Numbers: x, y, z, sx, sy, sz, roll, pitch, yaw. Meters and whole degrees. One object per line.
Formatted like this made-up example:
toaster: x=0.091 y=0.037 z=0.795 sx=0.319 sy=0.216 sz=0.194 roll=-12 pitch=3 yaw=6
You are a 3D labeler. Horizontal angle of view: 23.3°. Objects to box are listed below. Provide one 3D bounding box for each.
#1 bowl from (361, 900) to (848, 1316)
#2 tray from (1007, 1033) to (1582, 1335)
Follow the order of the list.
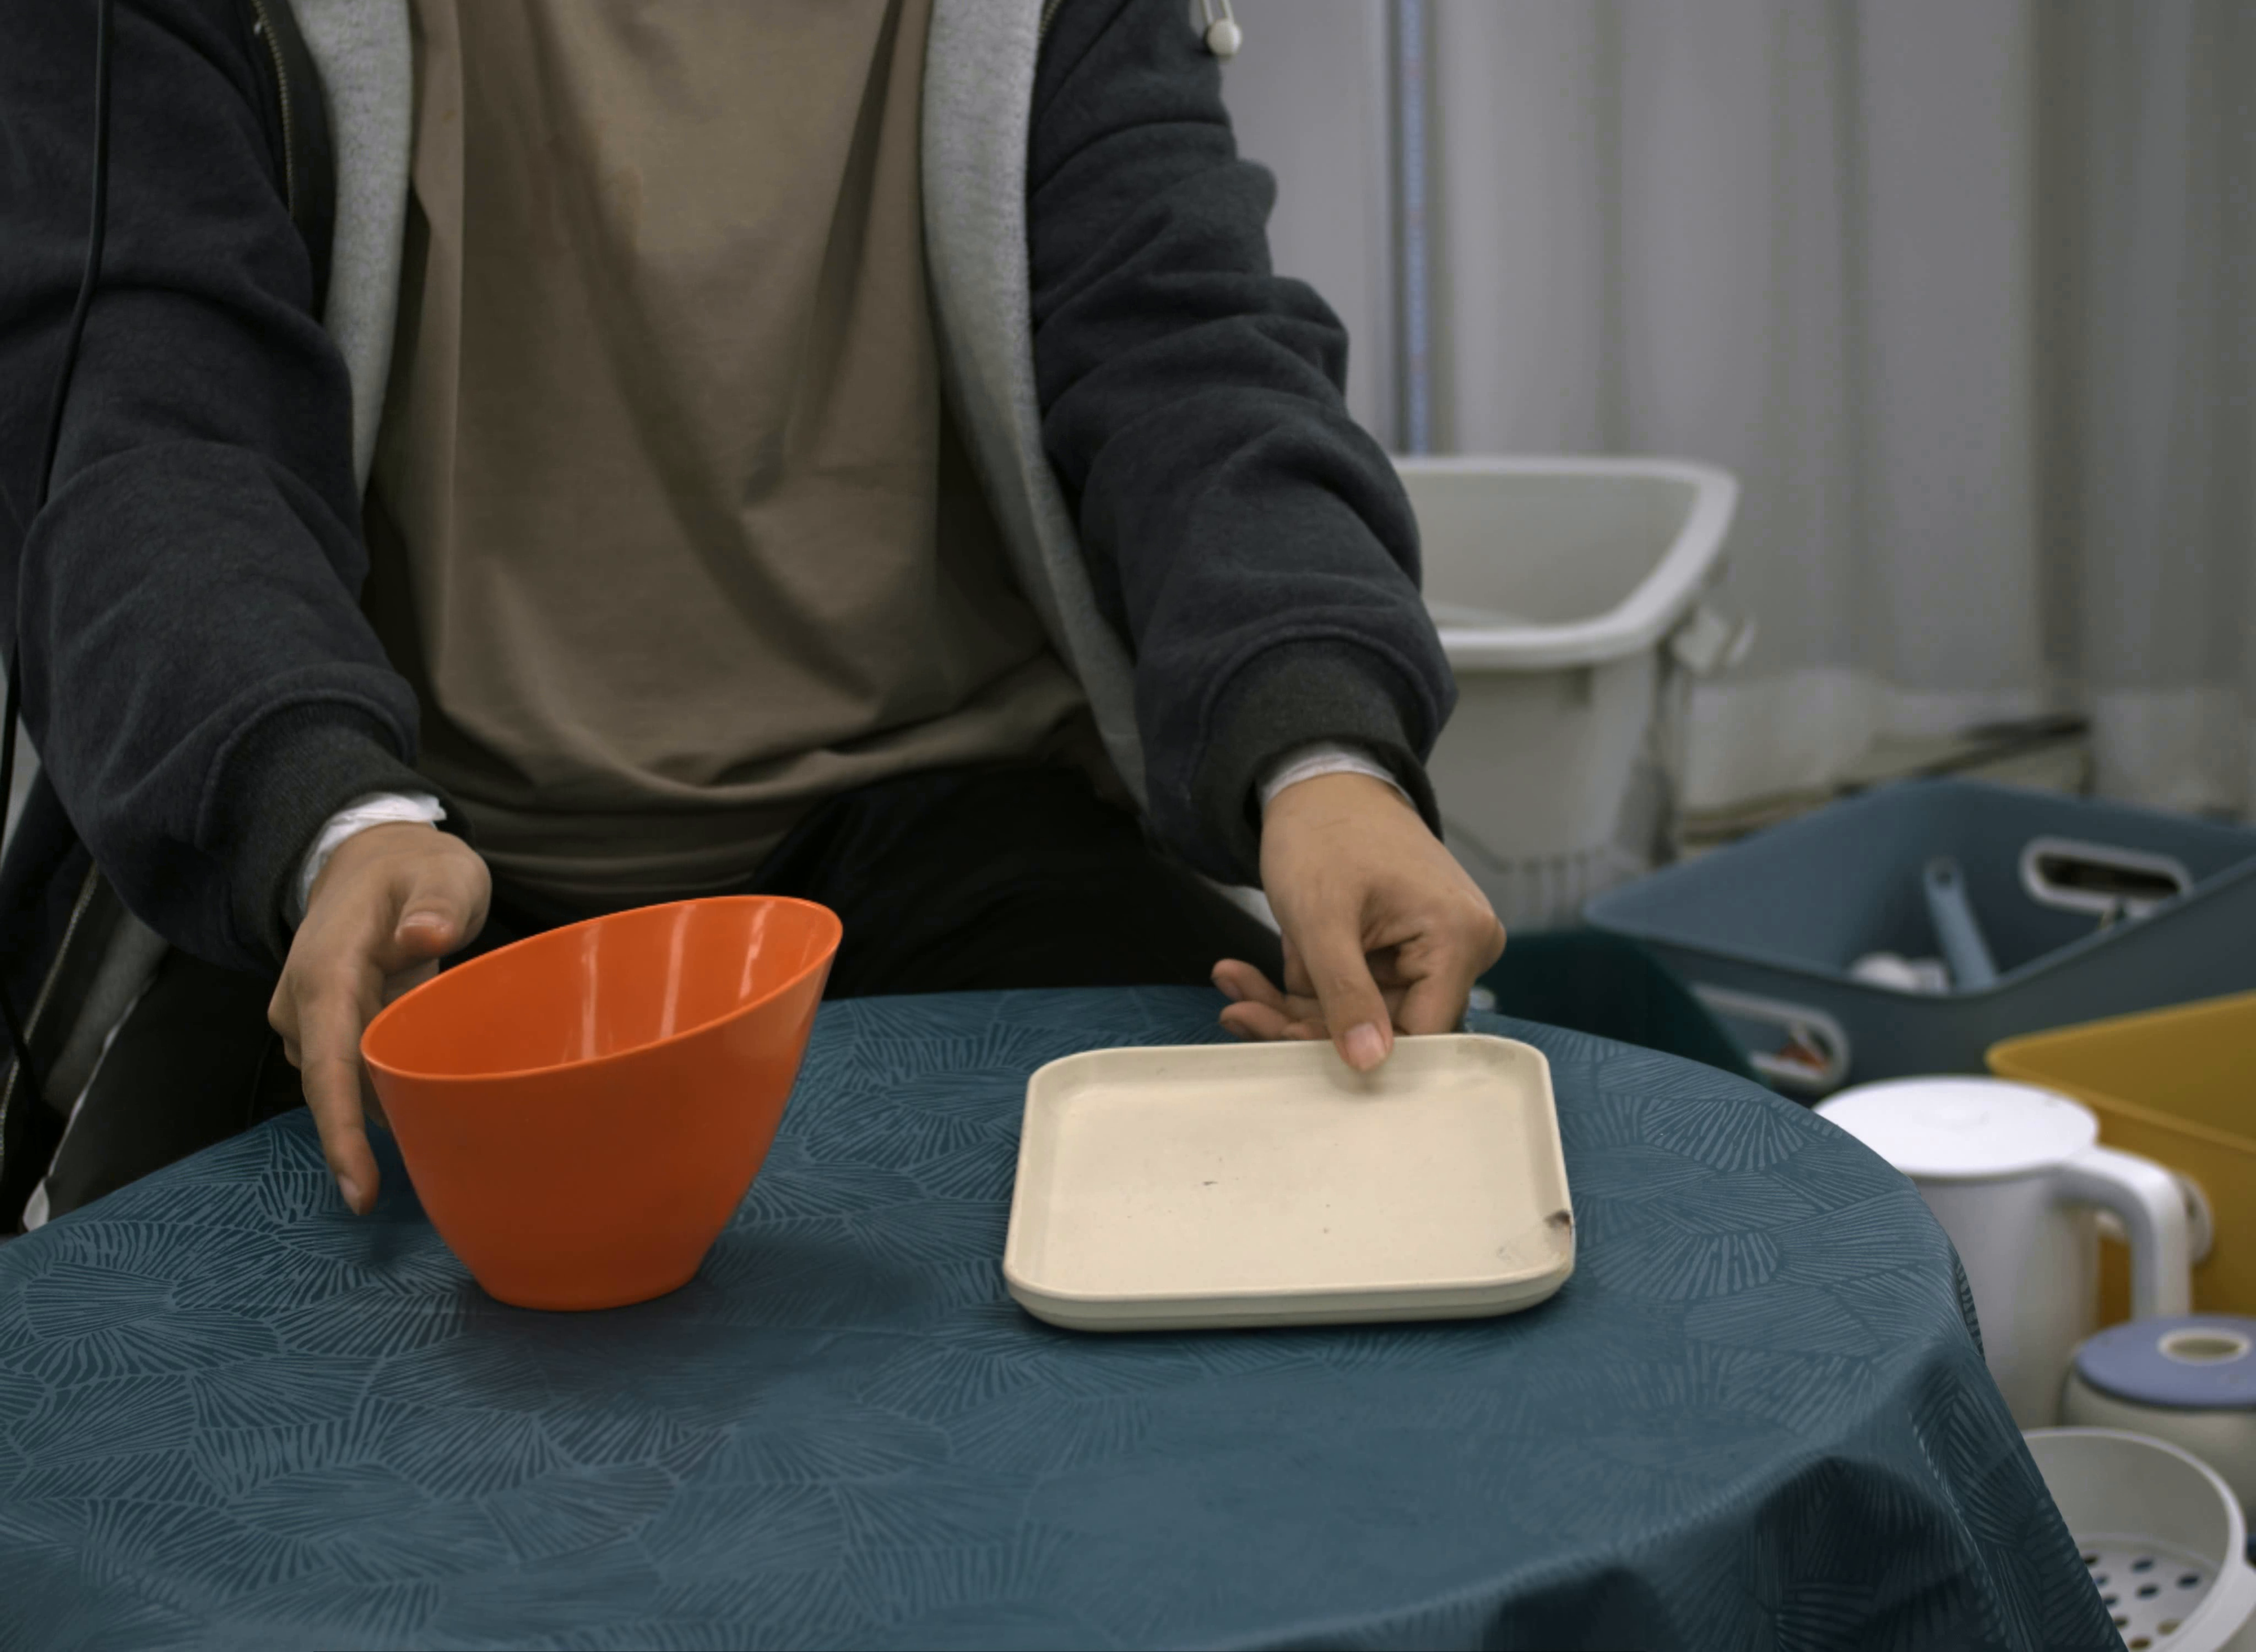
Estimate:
bowl: x=-0.156 y=0.088 z=1.653 sx=0.147 sy=0.104 sz=0.149 roll=-2 pitch=16 yaw=0
tray: x=0.050 y=0.110 z=1.691 sx=0.171 sy=0.017 sz=0.241 roll=-3 pitch=15 yaw=2
